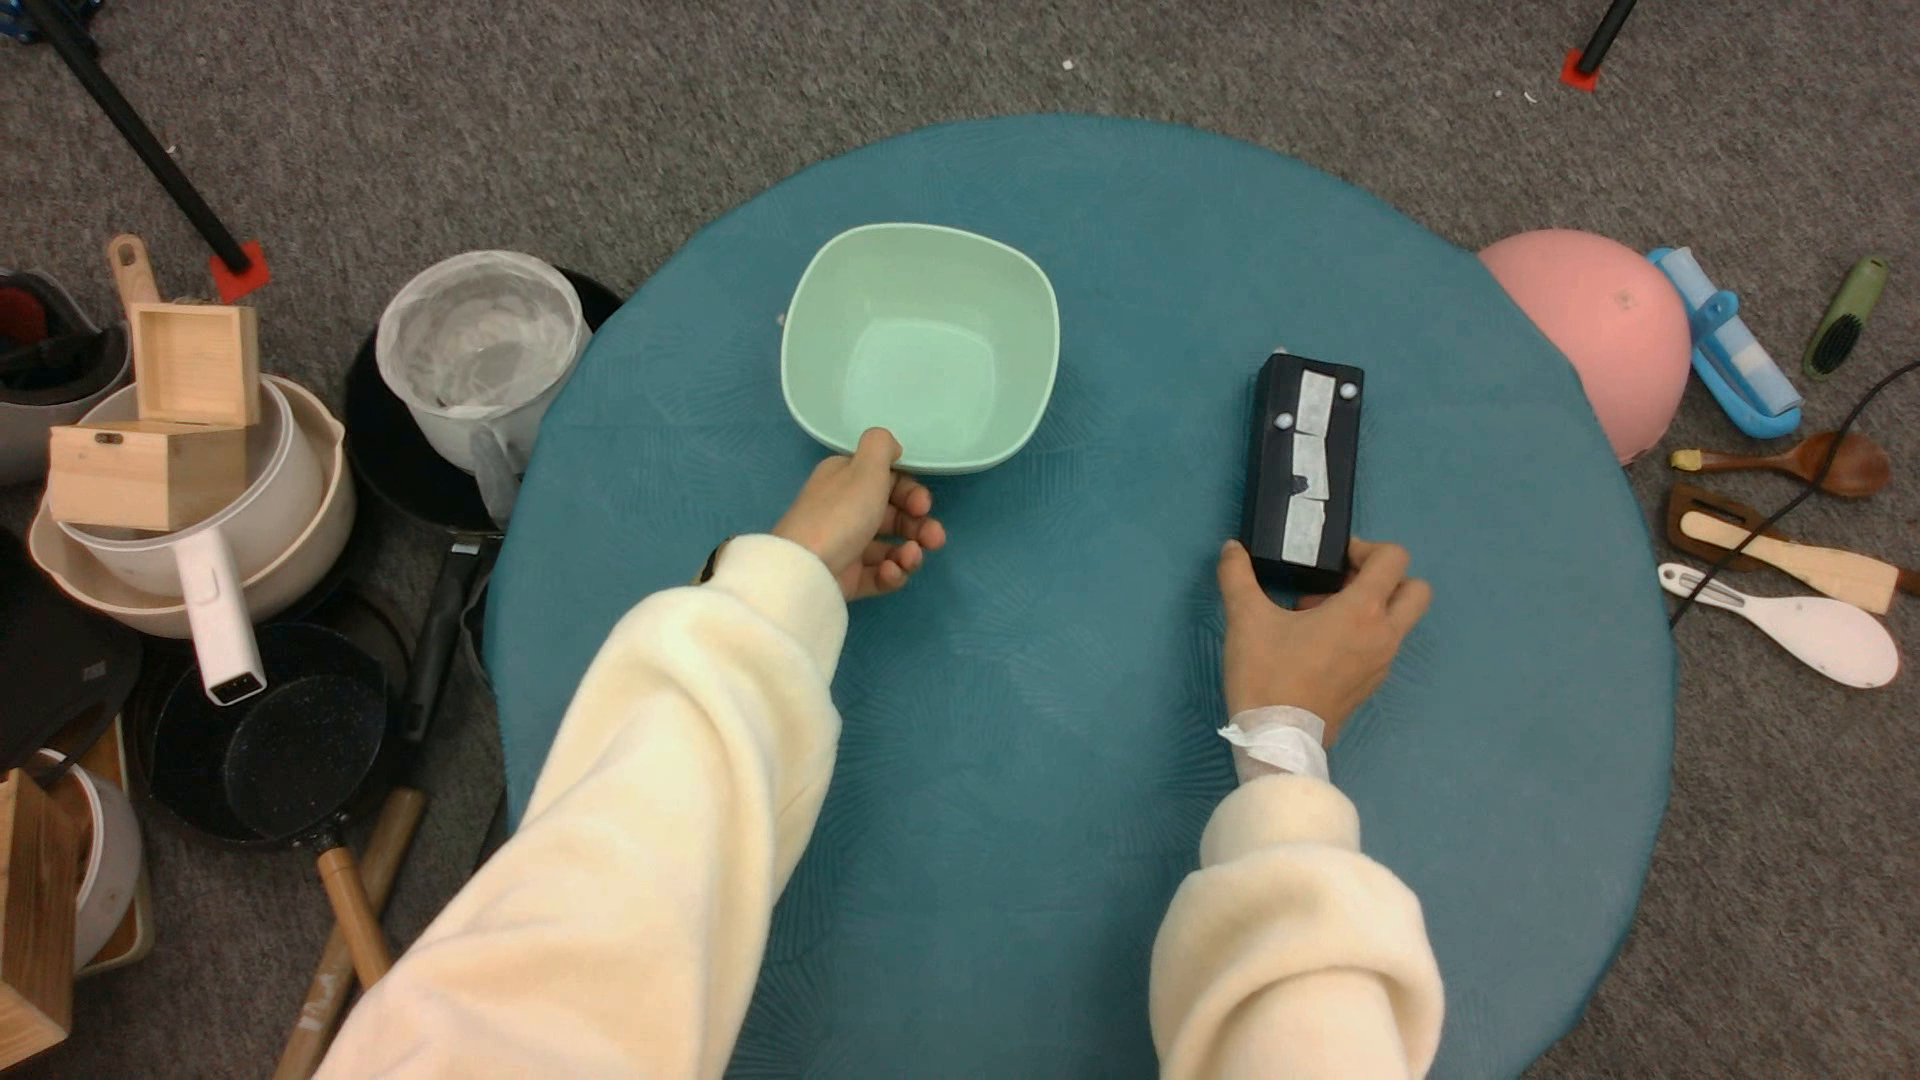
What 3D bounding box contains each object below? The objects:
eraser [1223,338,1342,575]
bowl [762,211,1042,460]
[{"bbox_3d":[0.169,-0.045,0.721,0.053,0.030,0.126,8,68,2],"label":"eraser"},{"bbox_3d":[-0.029,-0.097,0.715,0.151,0.058,0.152,0,68,-1],"label":"bowl"}]
